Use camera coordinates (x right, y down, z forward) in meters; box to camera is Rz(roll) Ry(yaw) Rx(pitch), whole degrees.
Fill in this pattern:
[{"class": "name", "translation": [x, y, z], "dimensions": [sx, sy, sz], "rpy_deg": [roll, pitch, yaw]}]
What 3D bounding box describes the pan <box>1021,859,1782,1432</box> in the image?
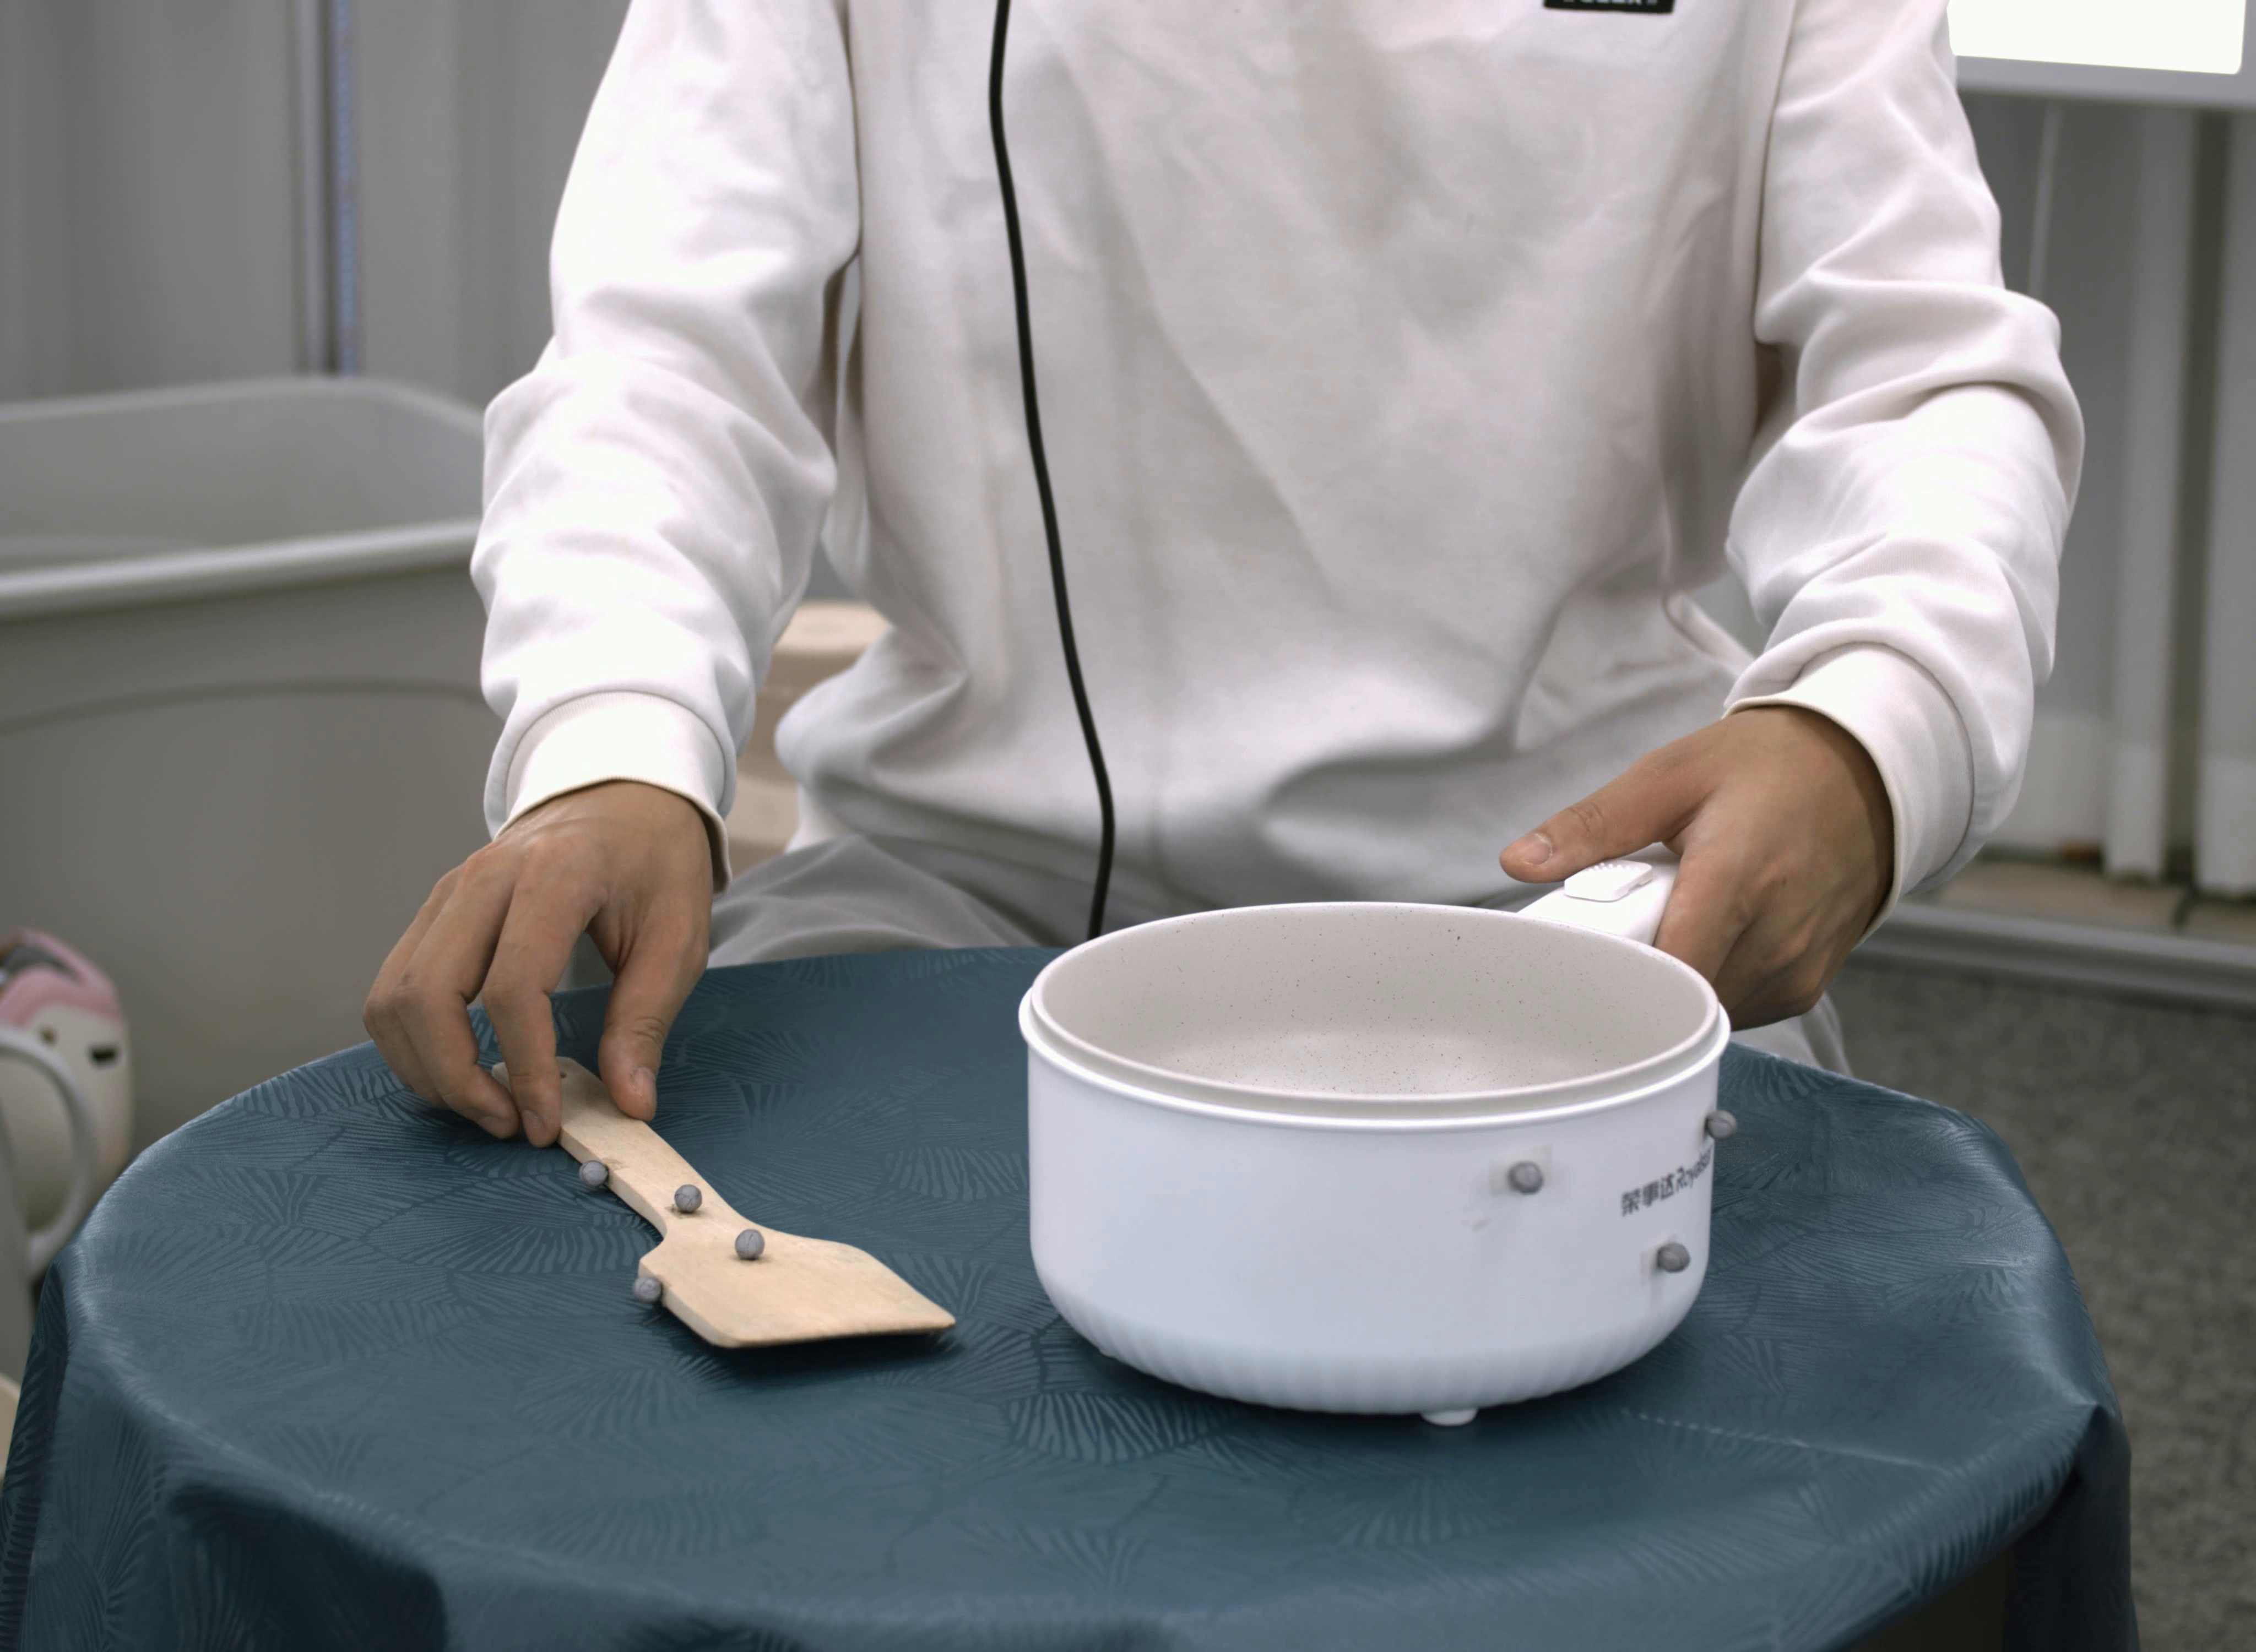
[{"class": "pan", "translation": [0.107, 0.088, 1.568], "dimensions": [0.199, 0.103, 0.356], "rpy_deg": [5, 12, 28]}]
